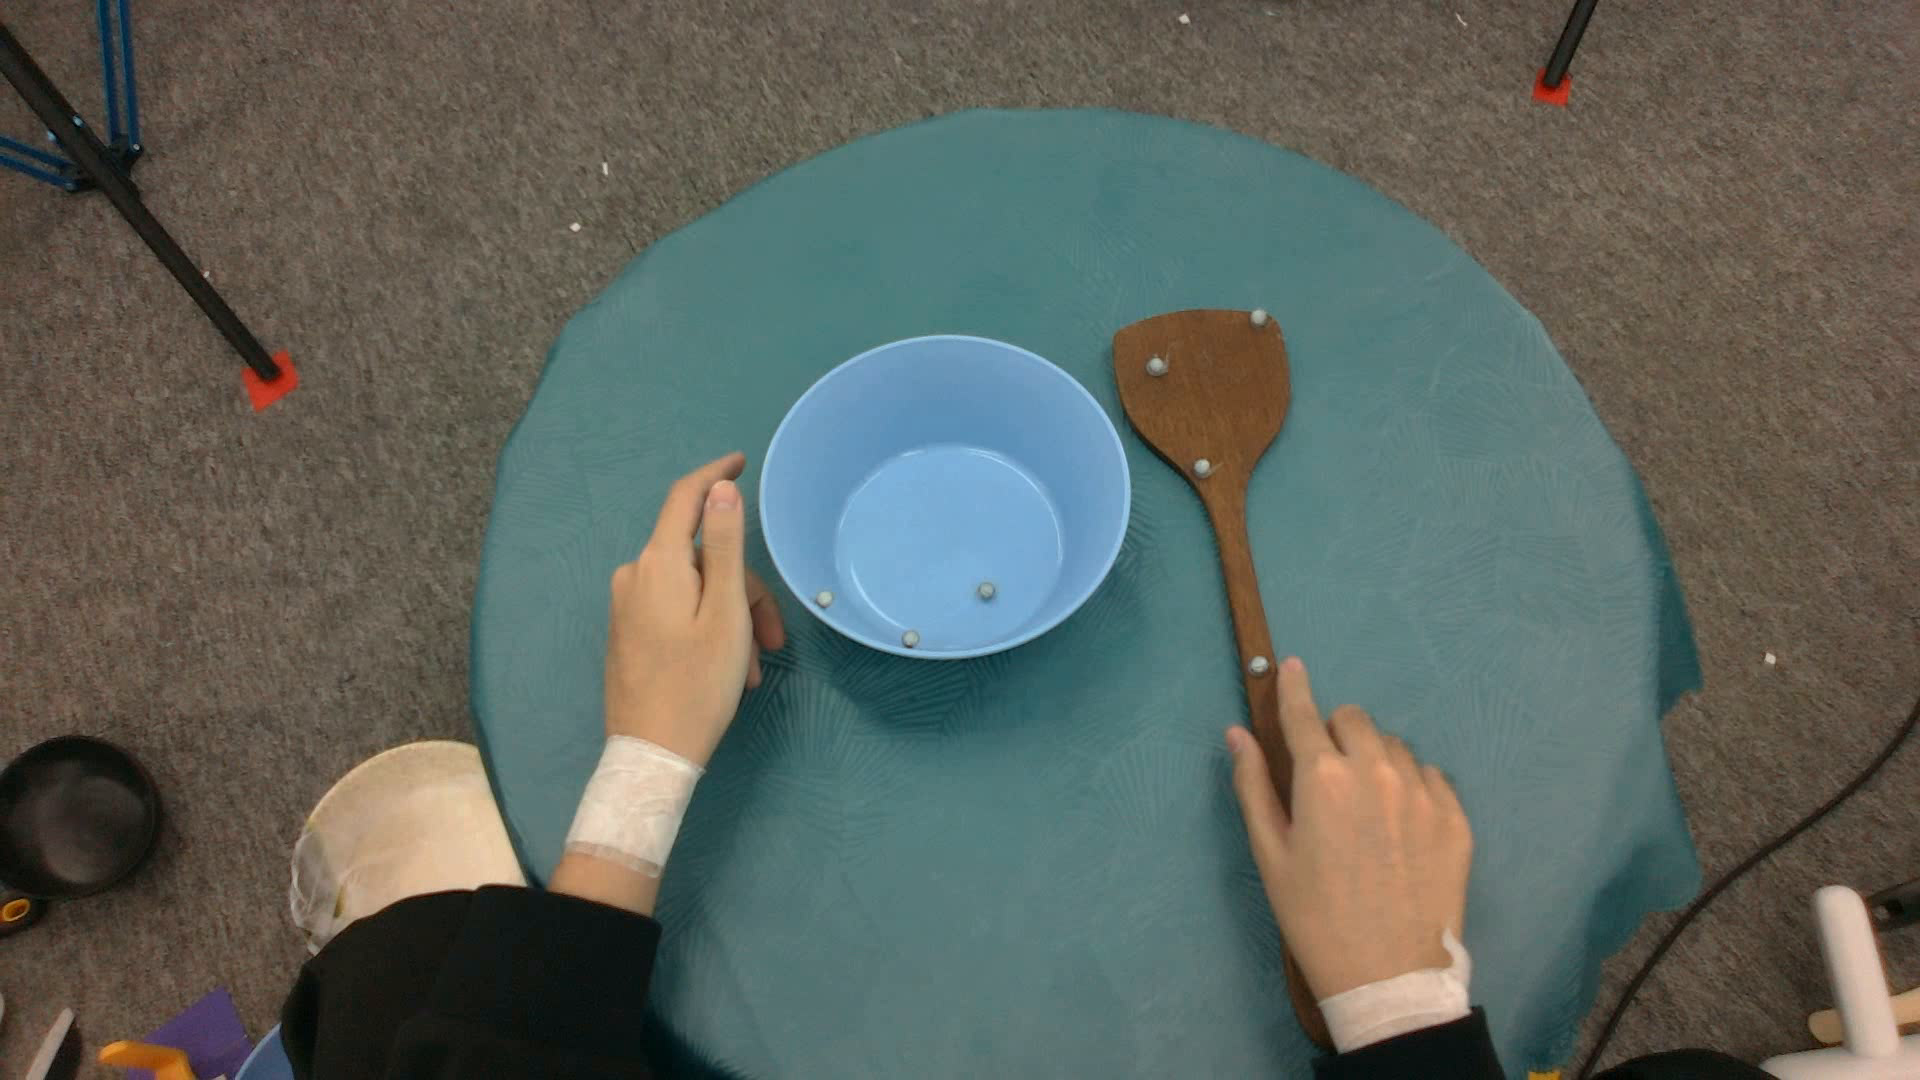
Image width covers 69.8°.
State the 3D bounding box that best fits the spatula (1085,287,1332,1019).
[{"bbox_3d":[0.131,0.034,0.680,0.096,0.016,0.387,-5,63,-2],"label":"spatula"}]

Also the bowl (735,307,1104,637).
[{"bbox_3d":[-0.018,-0.024,0.679,0.176,0.070,0.176,0,64,1],"label":"bowl"}]
